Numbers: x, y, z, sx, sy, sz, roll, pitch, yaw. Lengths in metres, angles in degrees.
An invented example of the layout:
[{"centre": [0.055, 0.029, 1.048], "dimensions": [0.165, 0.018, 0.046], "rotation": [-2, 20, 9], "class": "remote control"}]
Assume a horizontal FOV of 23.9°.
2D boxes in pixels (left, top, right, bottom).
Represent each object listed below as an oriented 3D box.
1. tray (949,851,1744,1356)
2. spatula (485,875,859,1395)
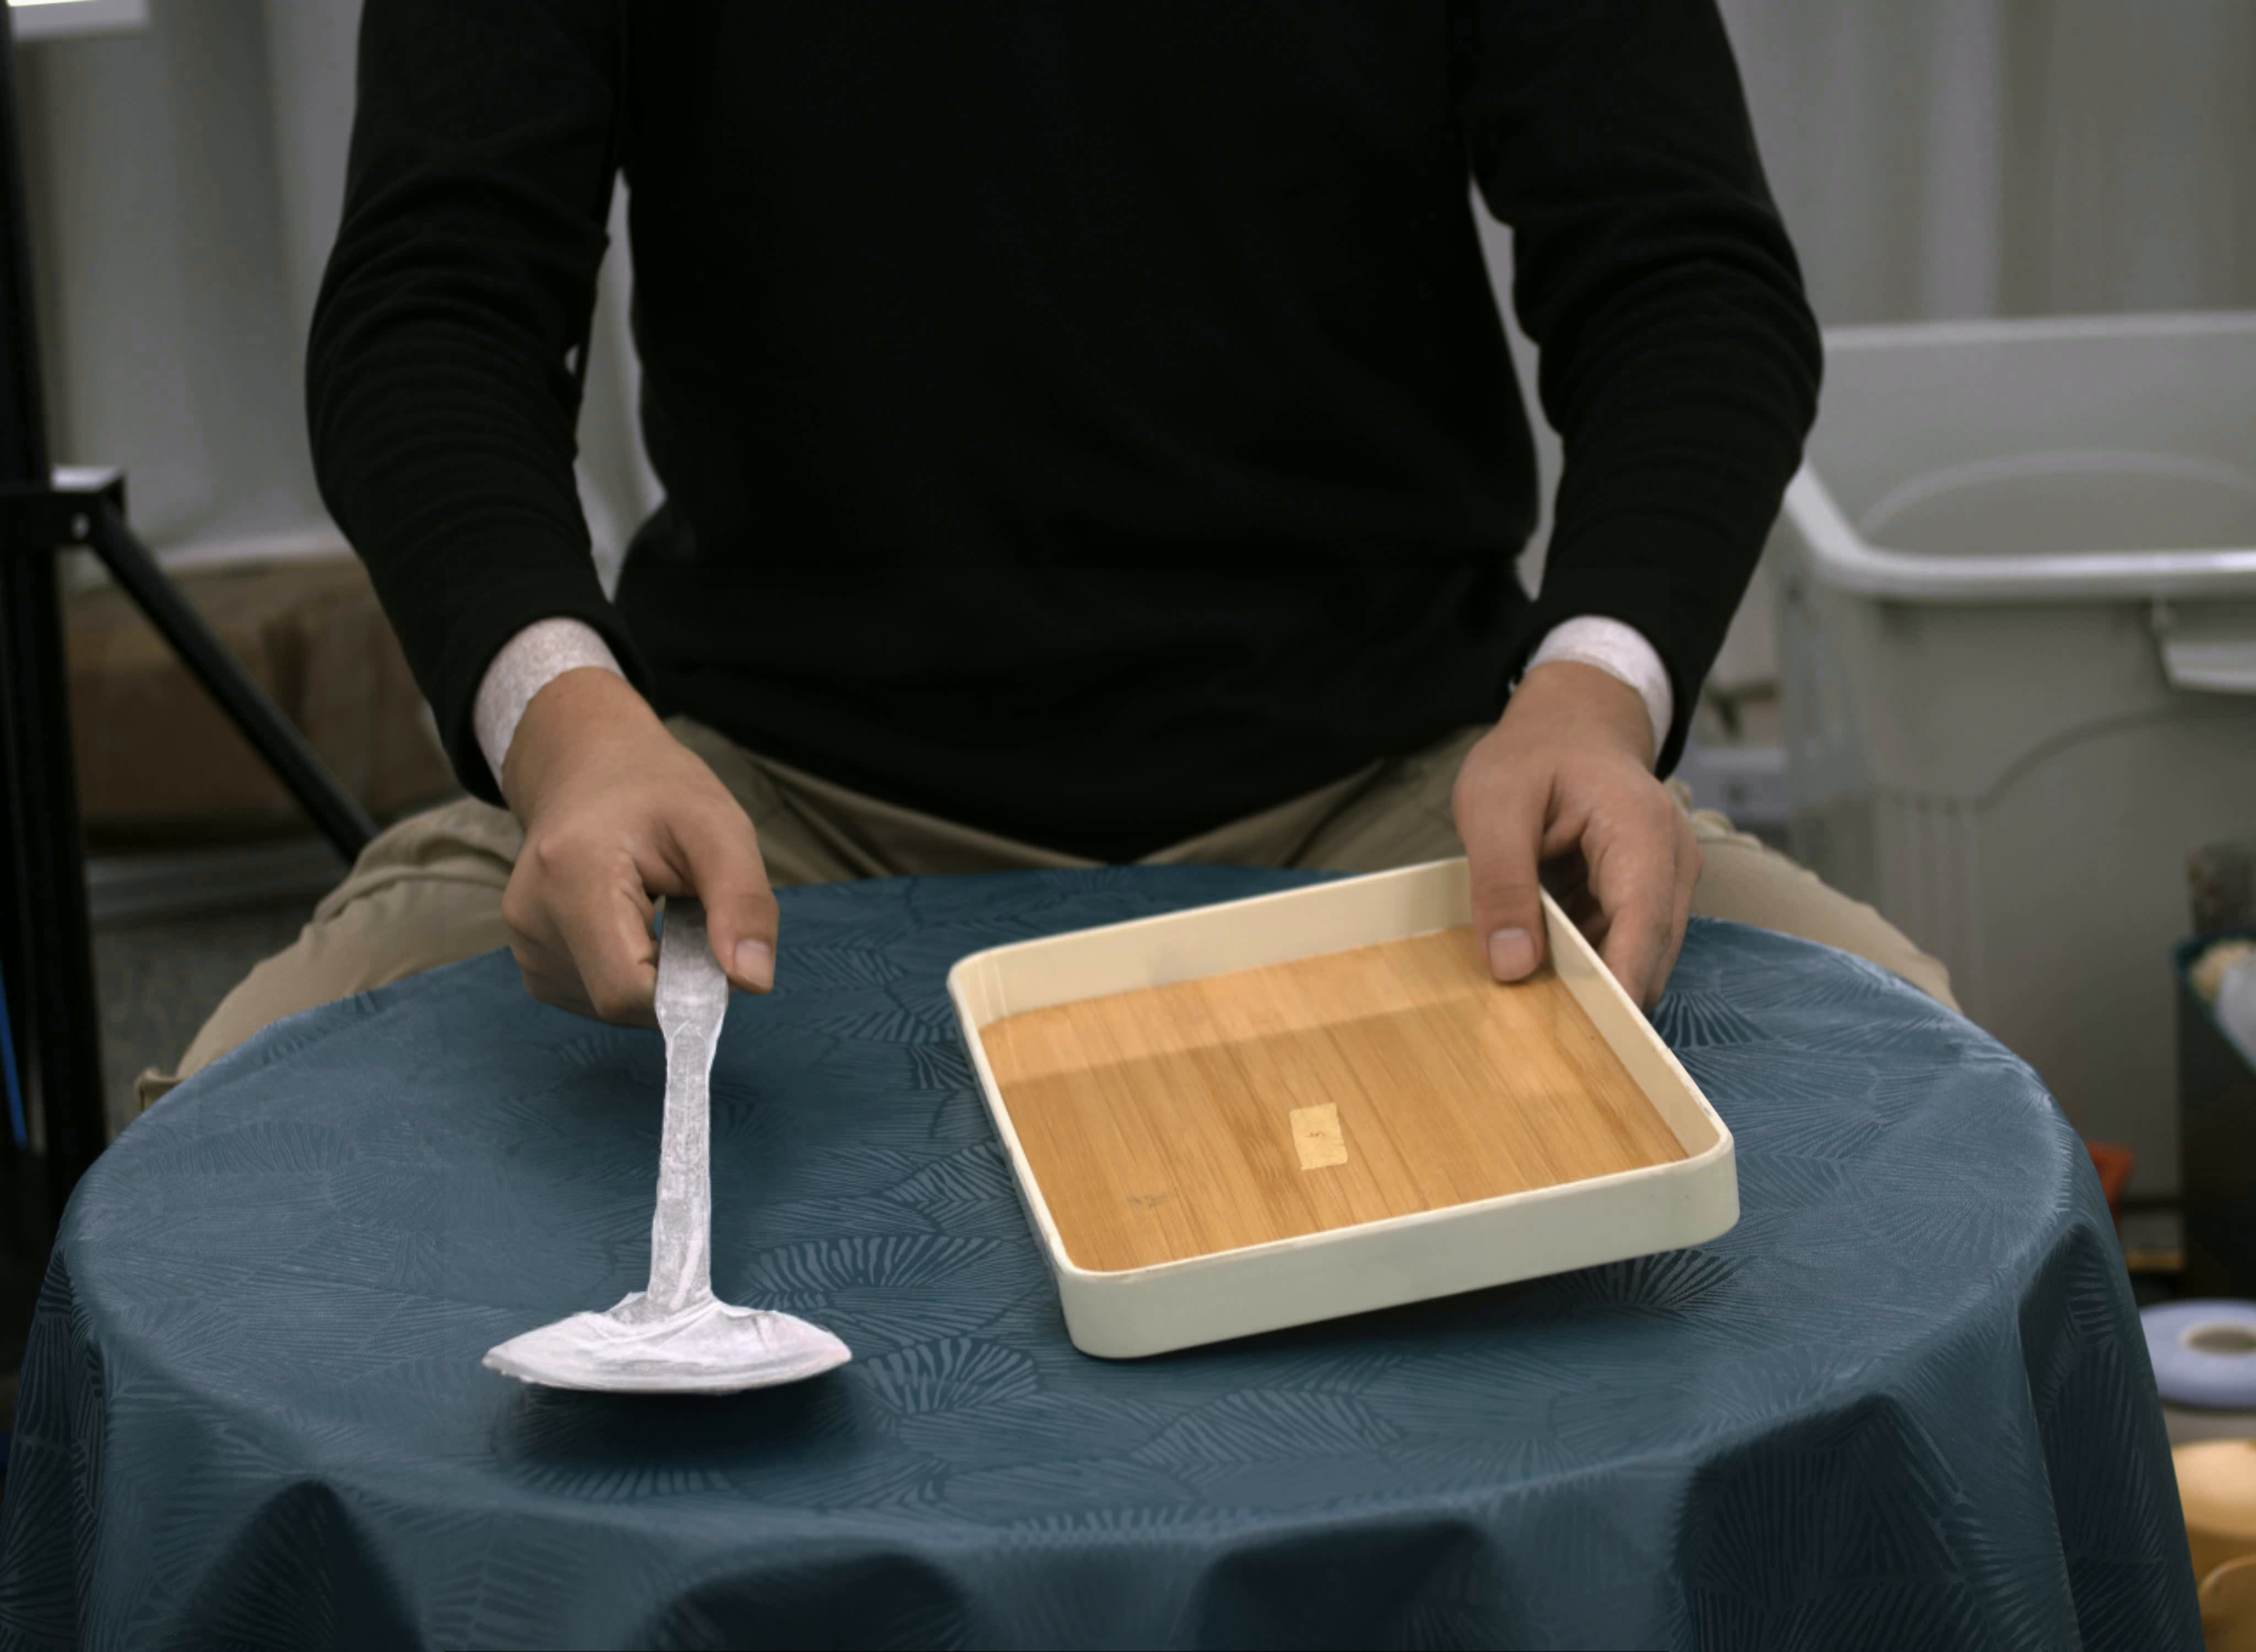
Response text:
[{"centre": [0.056, 0.077, 1.565], "dimensions": [0.190, 0.027, 0.303], "rotation": [-11, 17, -4], "class": "tray"}, {"centre": [-0.125, 0.080, 1.535], "dimensions": [0.098, 0.044, 0.368], "rotation": [-2, 27, -2], "class": "spatula"}]
